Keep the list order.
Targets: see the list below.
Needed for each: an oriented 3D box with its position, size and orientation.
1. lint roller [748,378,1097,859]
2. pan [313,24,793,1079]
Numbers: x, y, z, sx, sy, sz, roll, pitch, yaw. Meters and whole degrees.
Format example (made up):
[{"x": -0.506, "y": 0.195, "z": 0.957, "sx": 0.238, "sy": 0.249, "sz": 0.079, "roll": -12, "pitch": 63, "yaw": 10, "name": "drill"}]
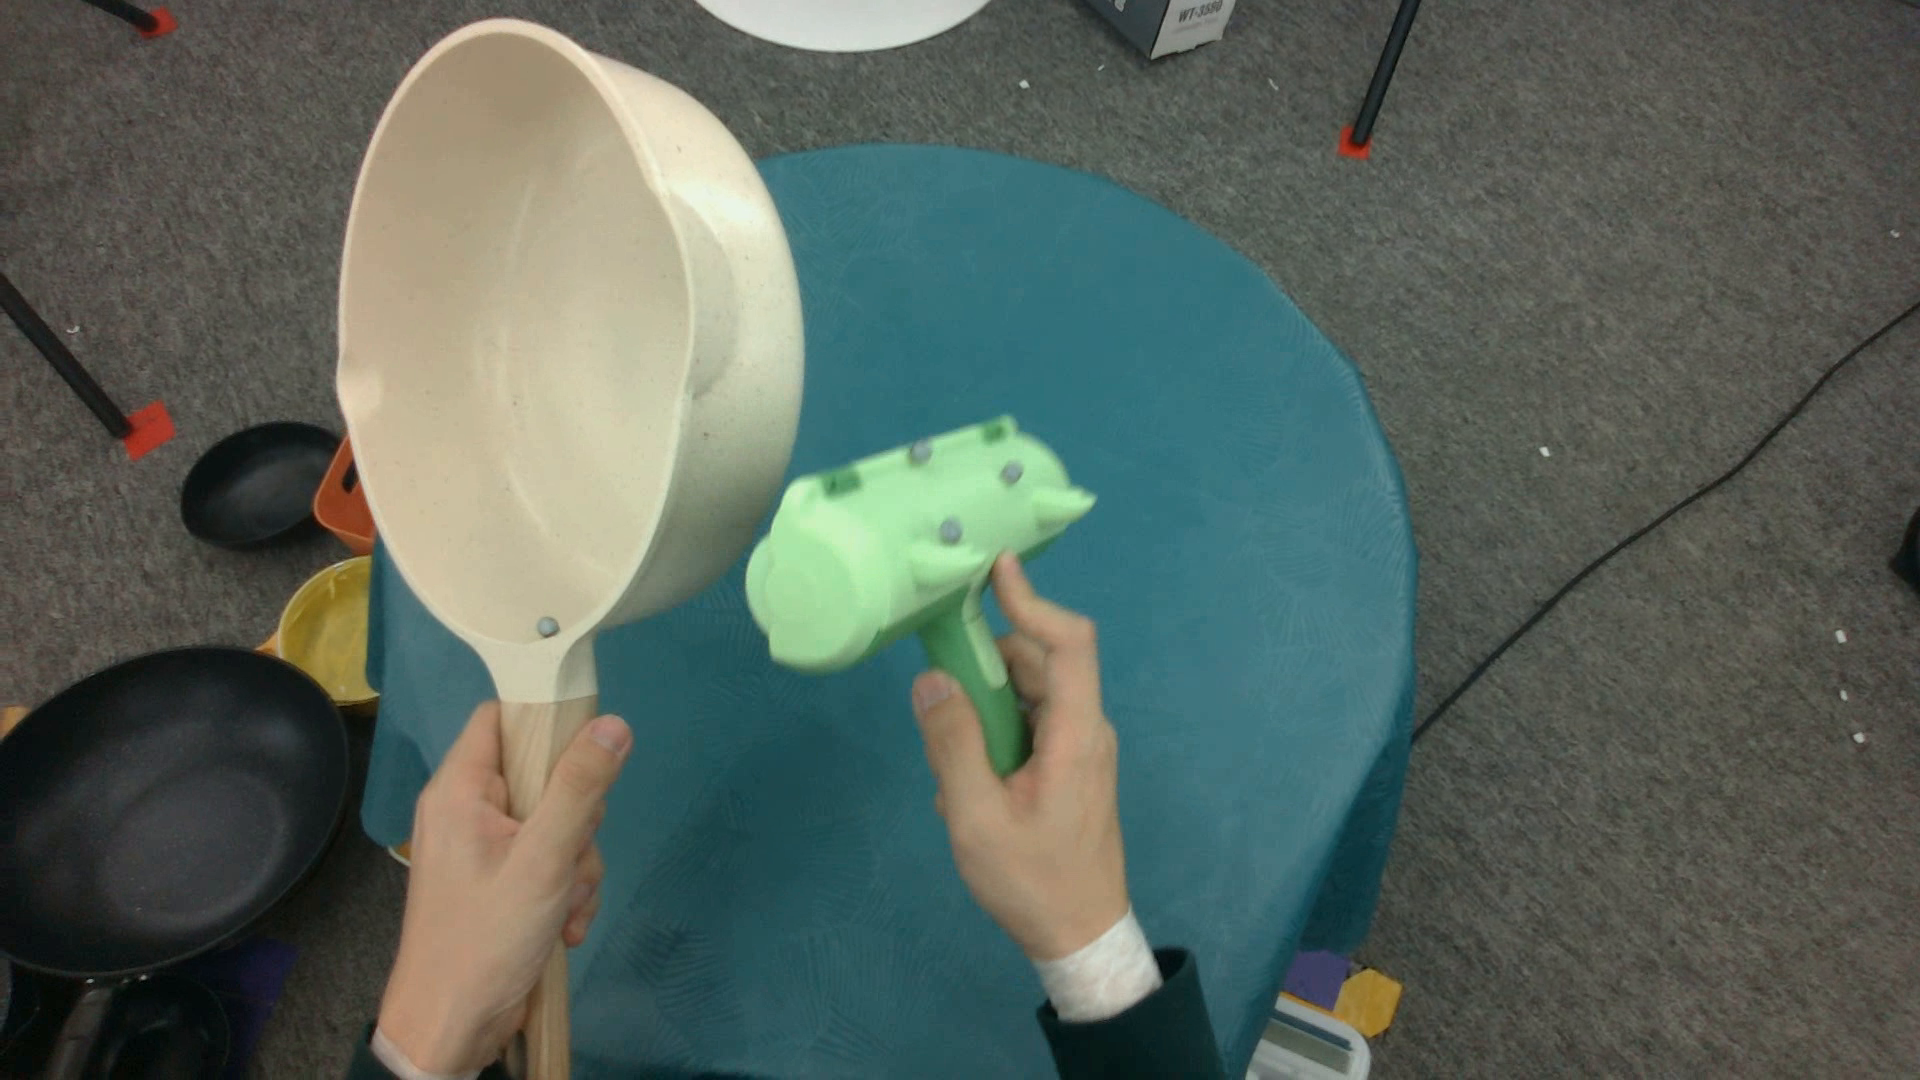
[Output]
[{"x": 0.016, "y": 0.033, "z": 0.533, "sx": 0.082, "sy": 0.199, "sz": 0.183, "roll": -22, "pitch": 93, "yaw": 28, "name": "lint roller"}, {"x": -0.164, "y": 0.011, "z": 0.581, "sx": 0.262, "sy": 0.102, "sz": 0.435, "roll": -7, "pitch": 91, "yaw": 38, "name": "pan"}]
